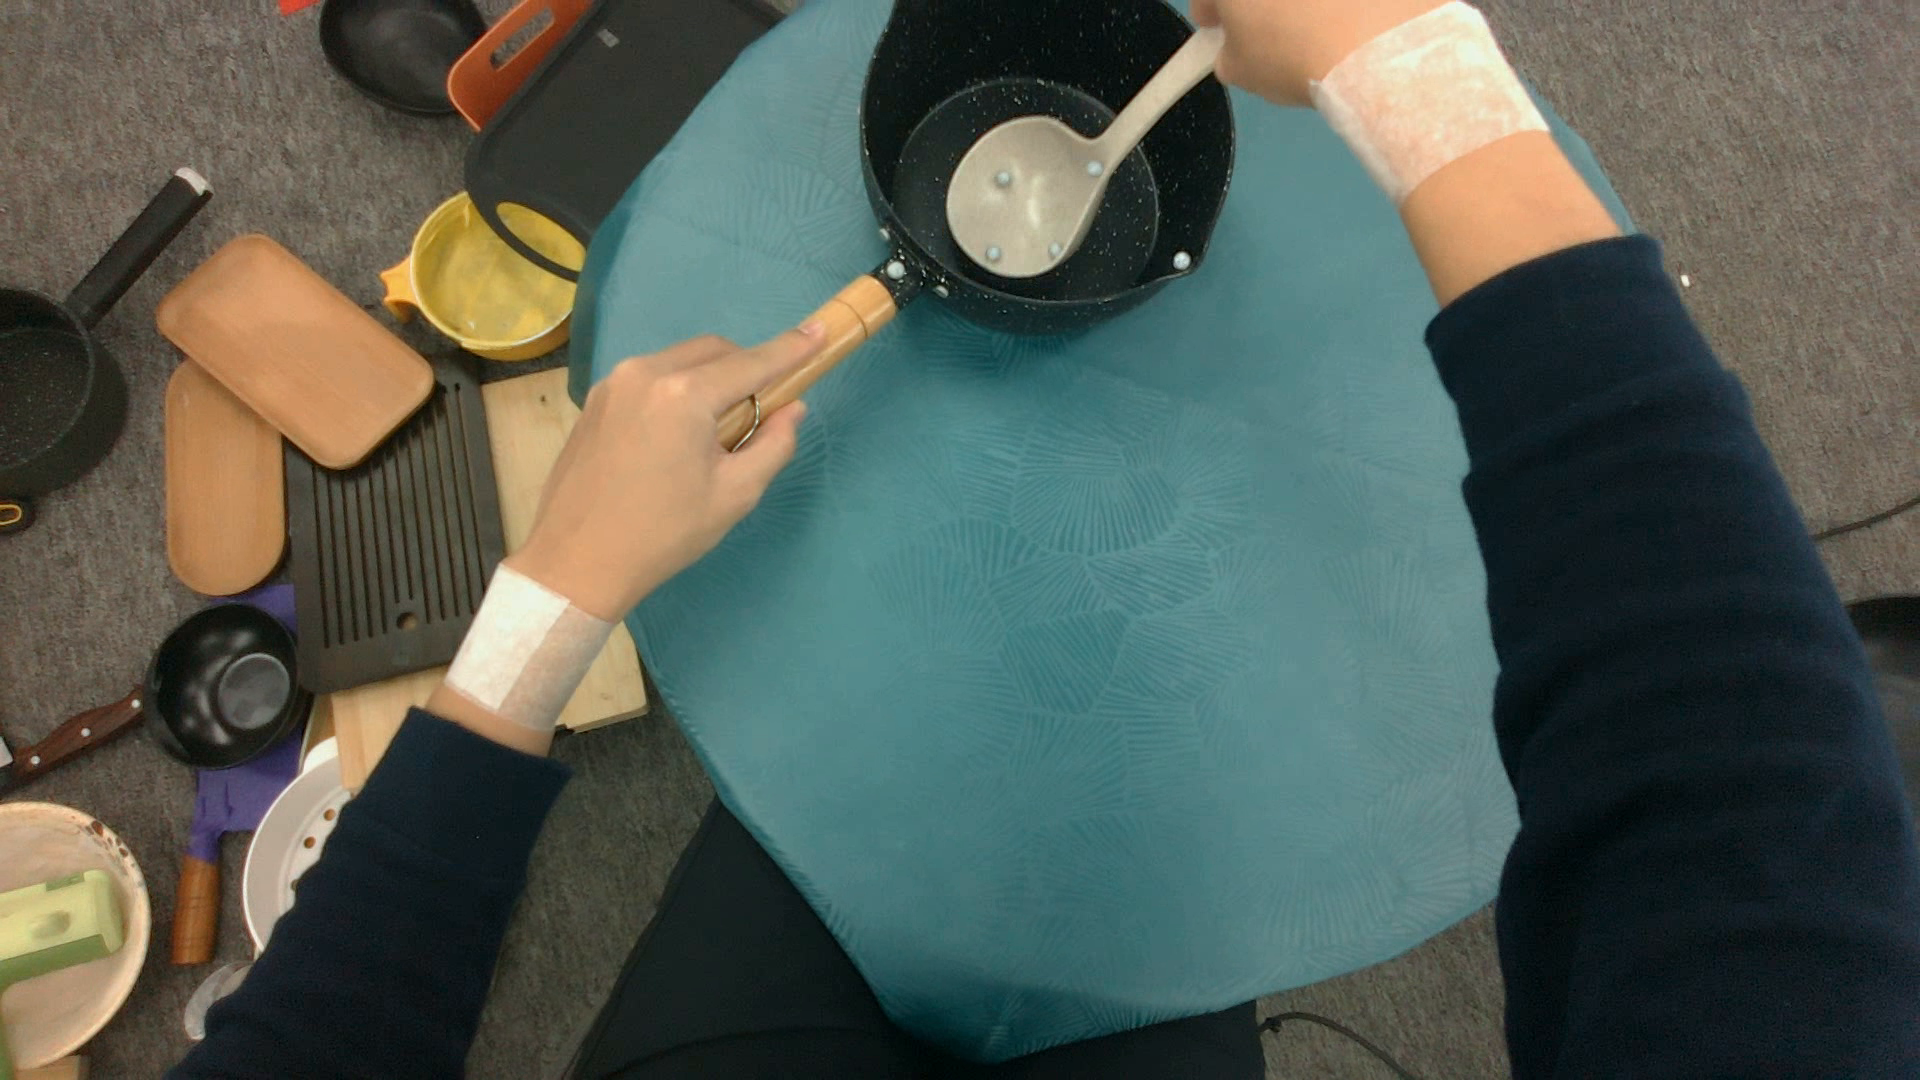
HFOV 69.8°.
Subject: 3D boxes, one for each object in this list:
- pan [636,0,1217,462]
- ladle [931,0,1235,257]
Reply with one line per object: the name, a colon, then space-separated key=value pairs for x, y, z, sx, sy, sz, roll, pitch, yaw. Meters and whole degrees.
pan: x=-0.021 y=-0.146 z=0.679 sx=0.207 sy=0.108 sz=0.344 roll=43 pitch=75 yaw=3
ladle: x=0.060 y=-0.211 z=0.610 sx=0.069 sy=0.274 sz=0.089 roll=7 pitch=75 yaw=-18
